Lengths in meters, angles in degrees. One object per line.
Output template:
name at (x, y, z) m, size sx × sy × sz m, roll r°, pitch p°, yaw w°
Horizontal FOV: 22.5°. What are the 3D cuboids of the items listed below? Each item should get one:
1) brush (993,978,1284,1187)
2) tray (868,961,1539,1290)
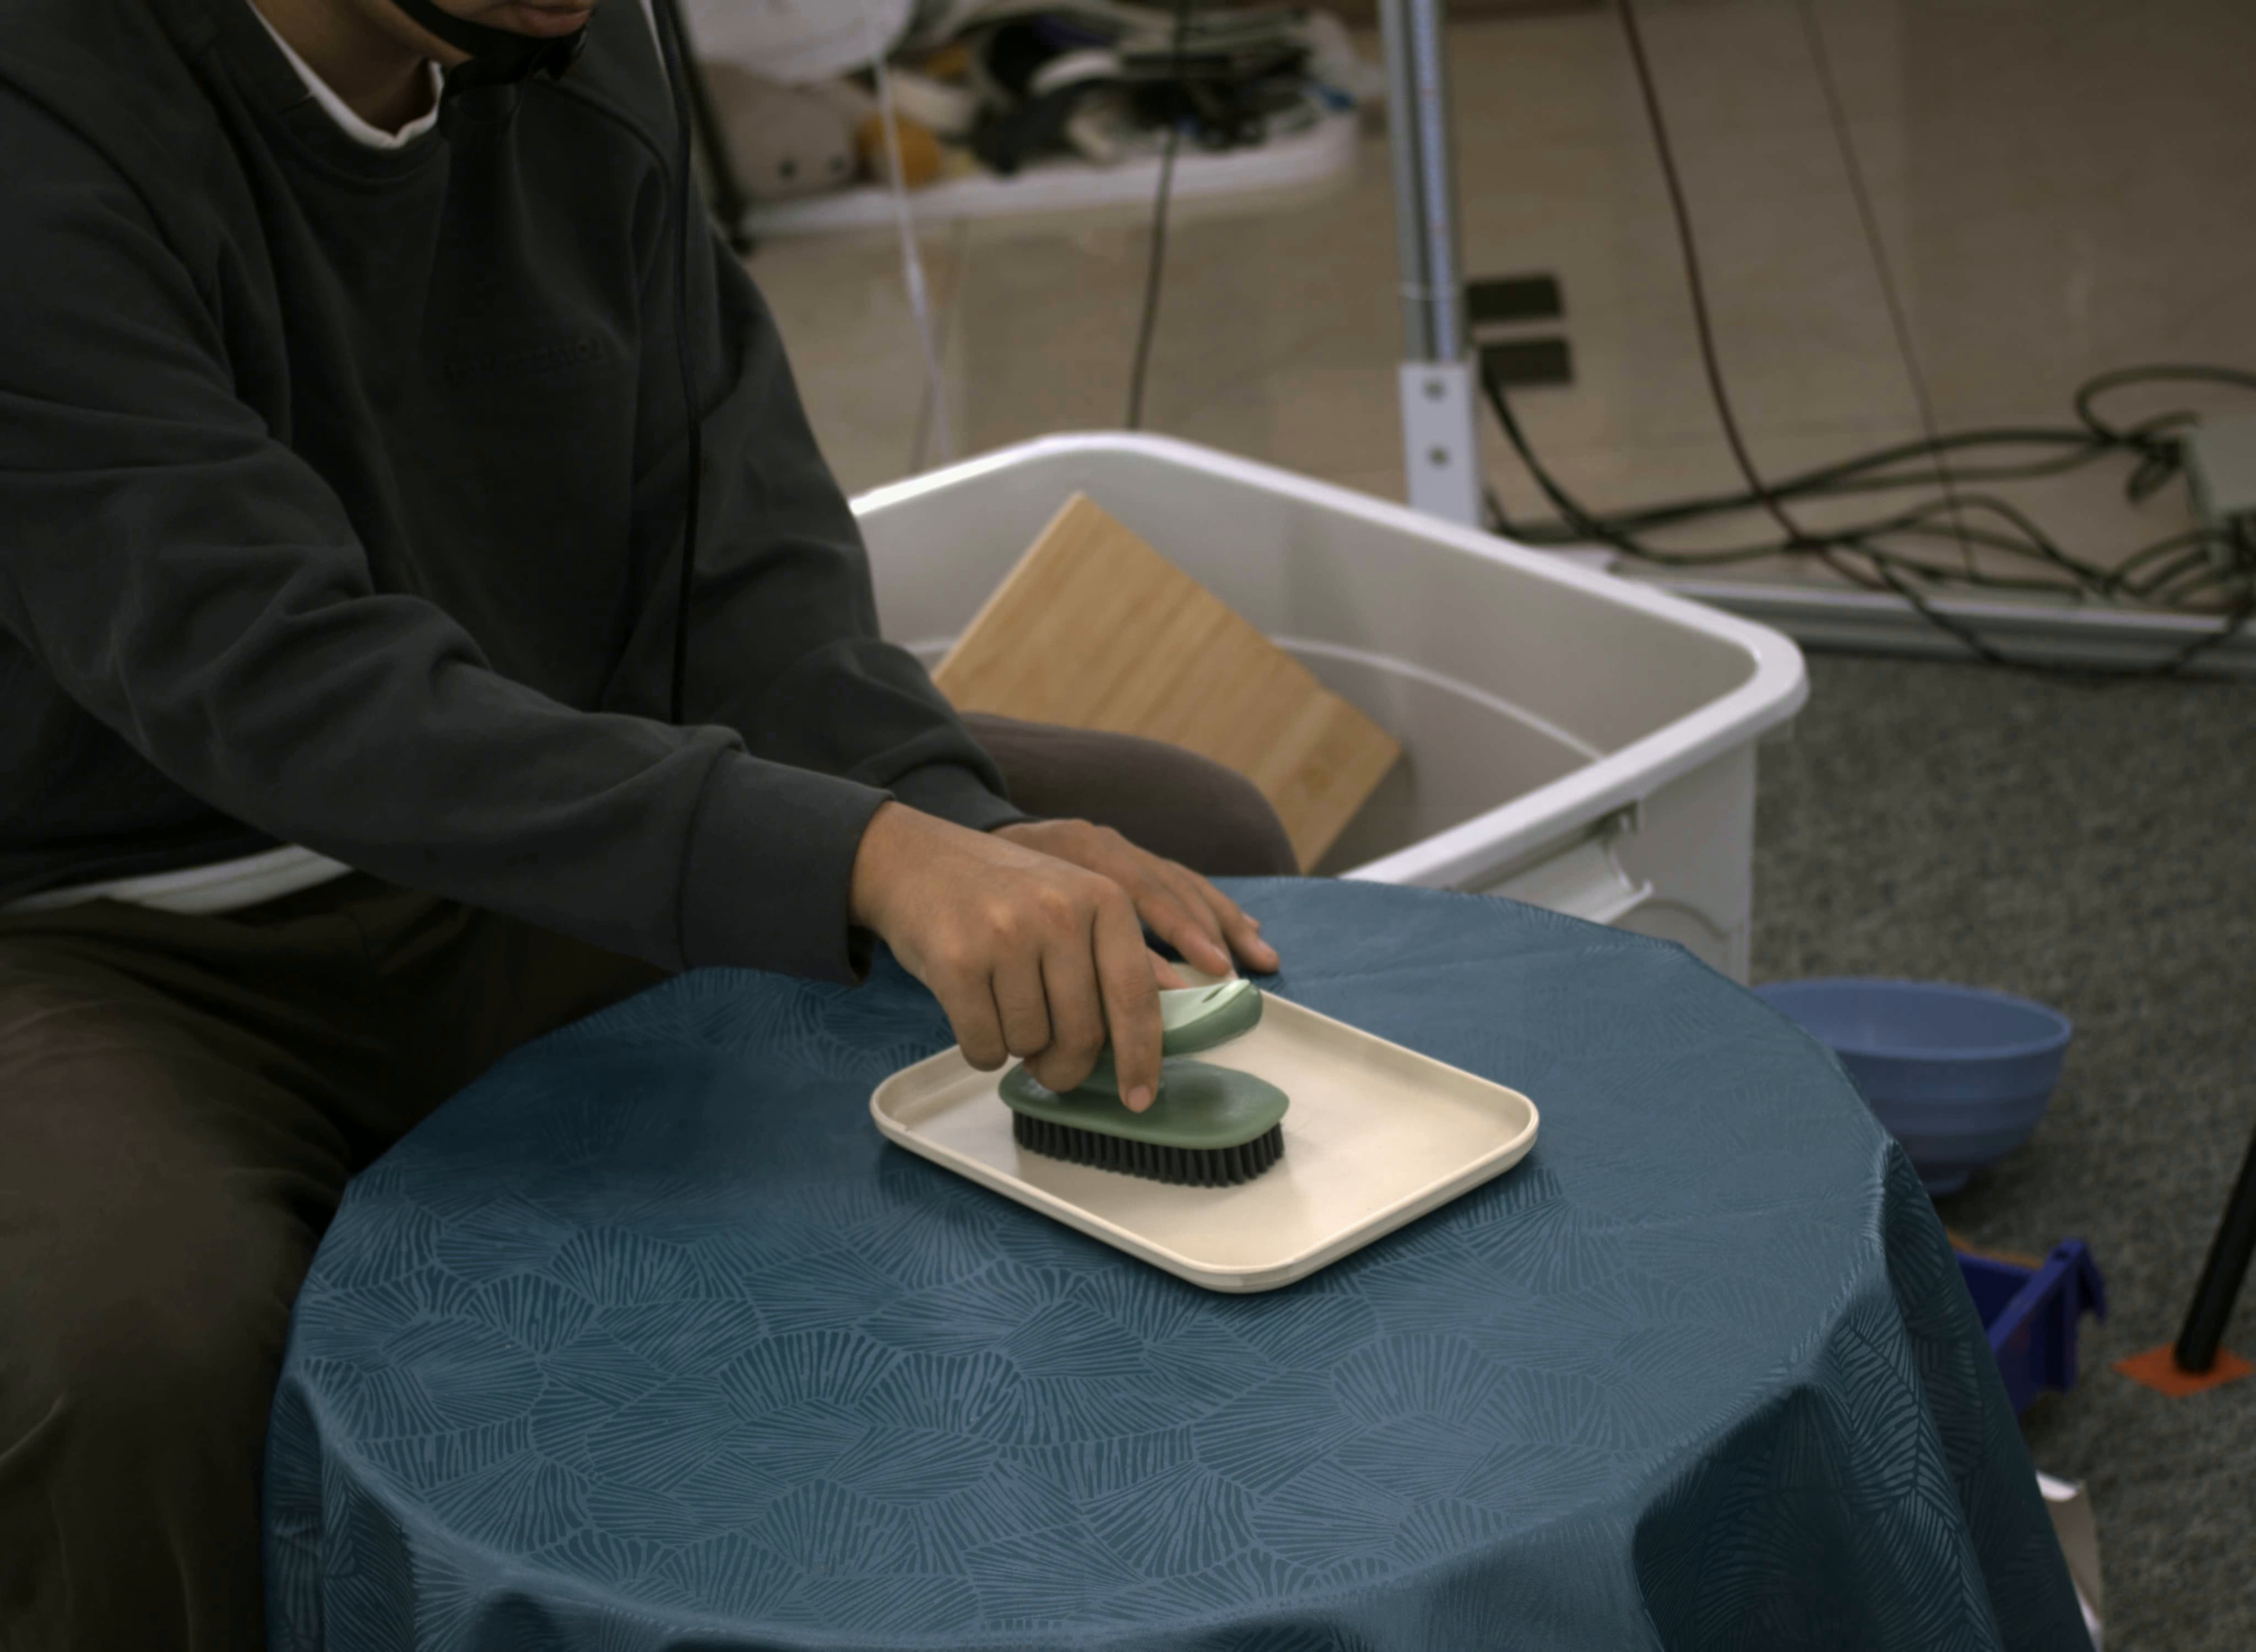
brush at (0.005, 0.098, 2.165) m, size 0.123 × 0.076 × 0.059 m, roll -5°, pitch 21°, yaw 37°
tray at (0.027, 0.114, 2.174) m, size 0.170 × 0.018 × 0.237 m, roll -24°, pitch 30°, yaw -34°
